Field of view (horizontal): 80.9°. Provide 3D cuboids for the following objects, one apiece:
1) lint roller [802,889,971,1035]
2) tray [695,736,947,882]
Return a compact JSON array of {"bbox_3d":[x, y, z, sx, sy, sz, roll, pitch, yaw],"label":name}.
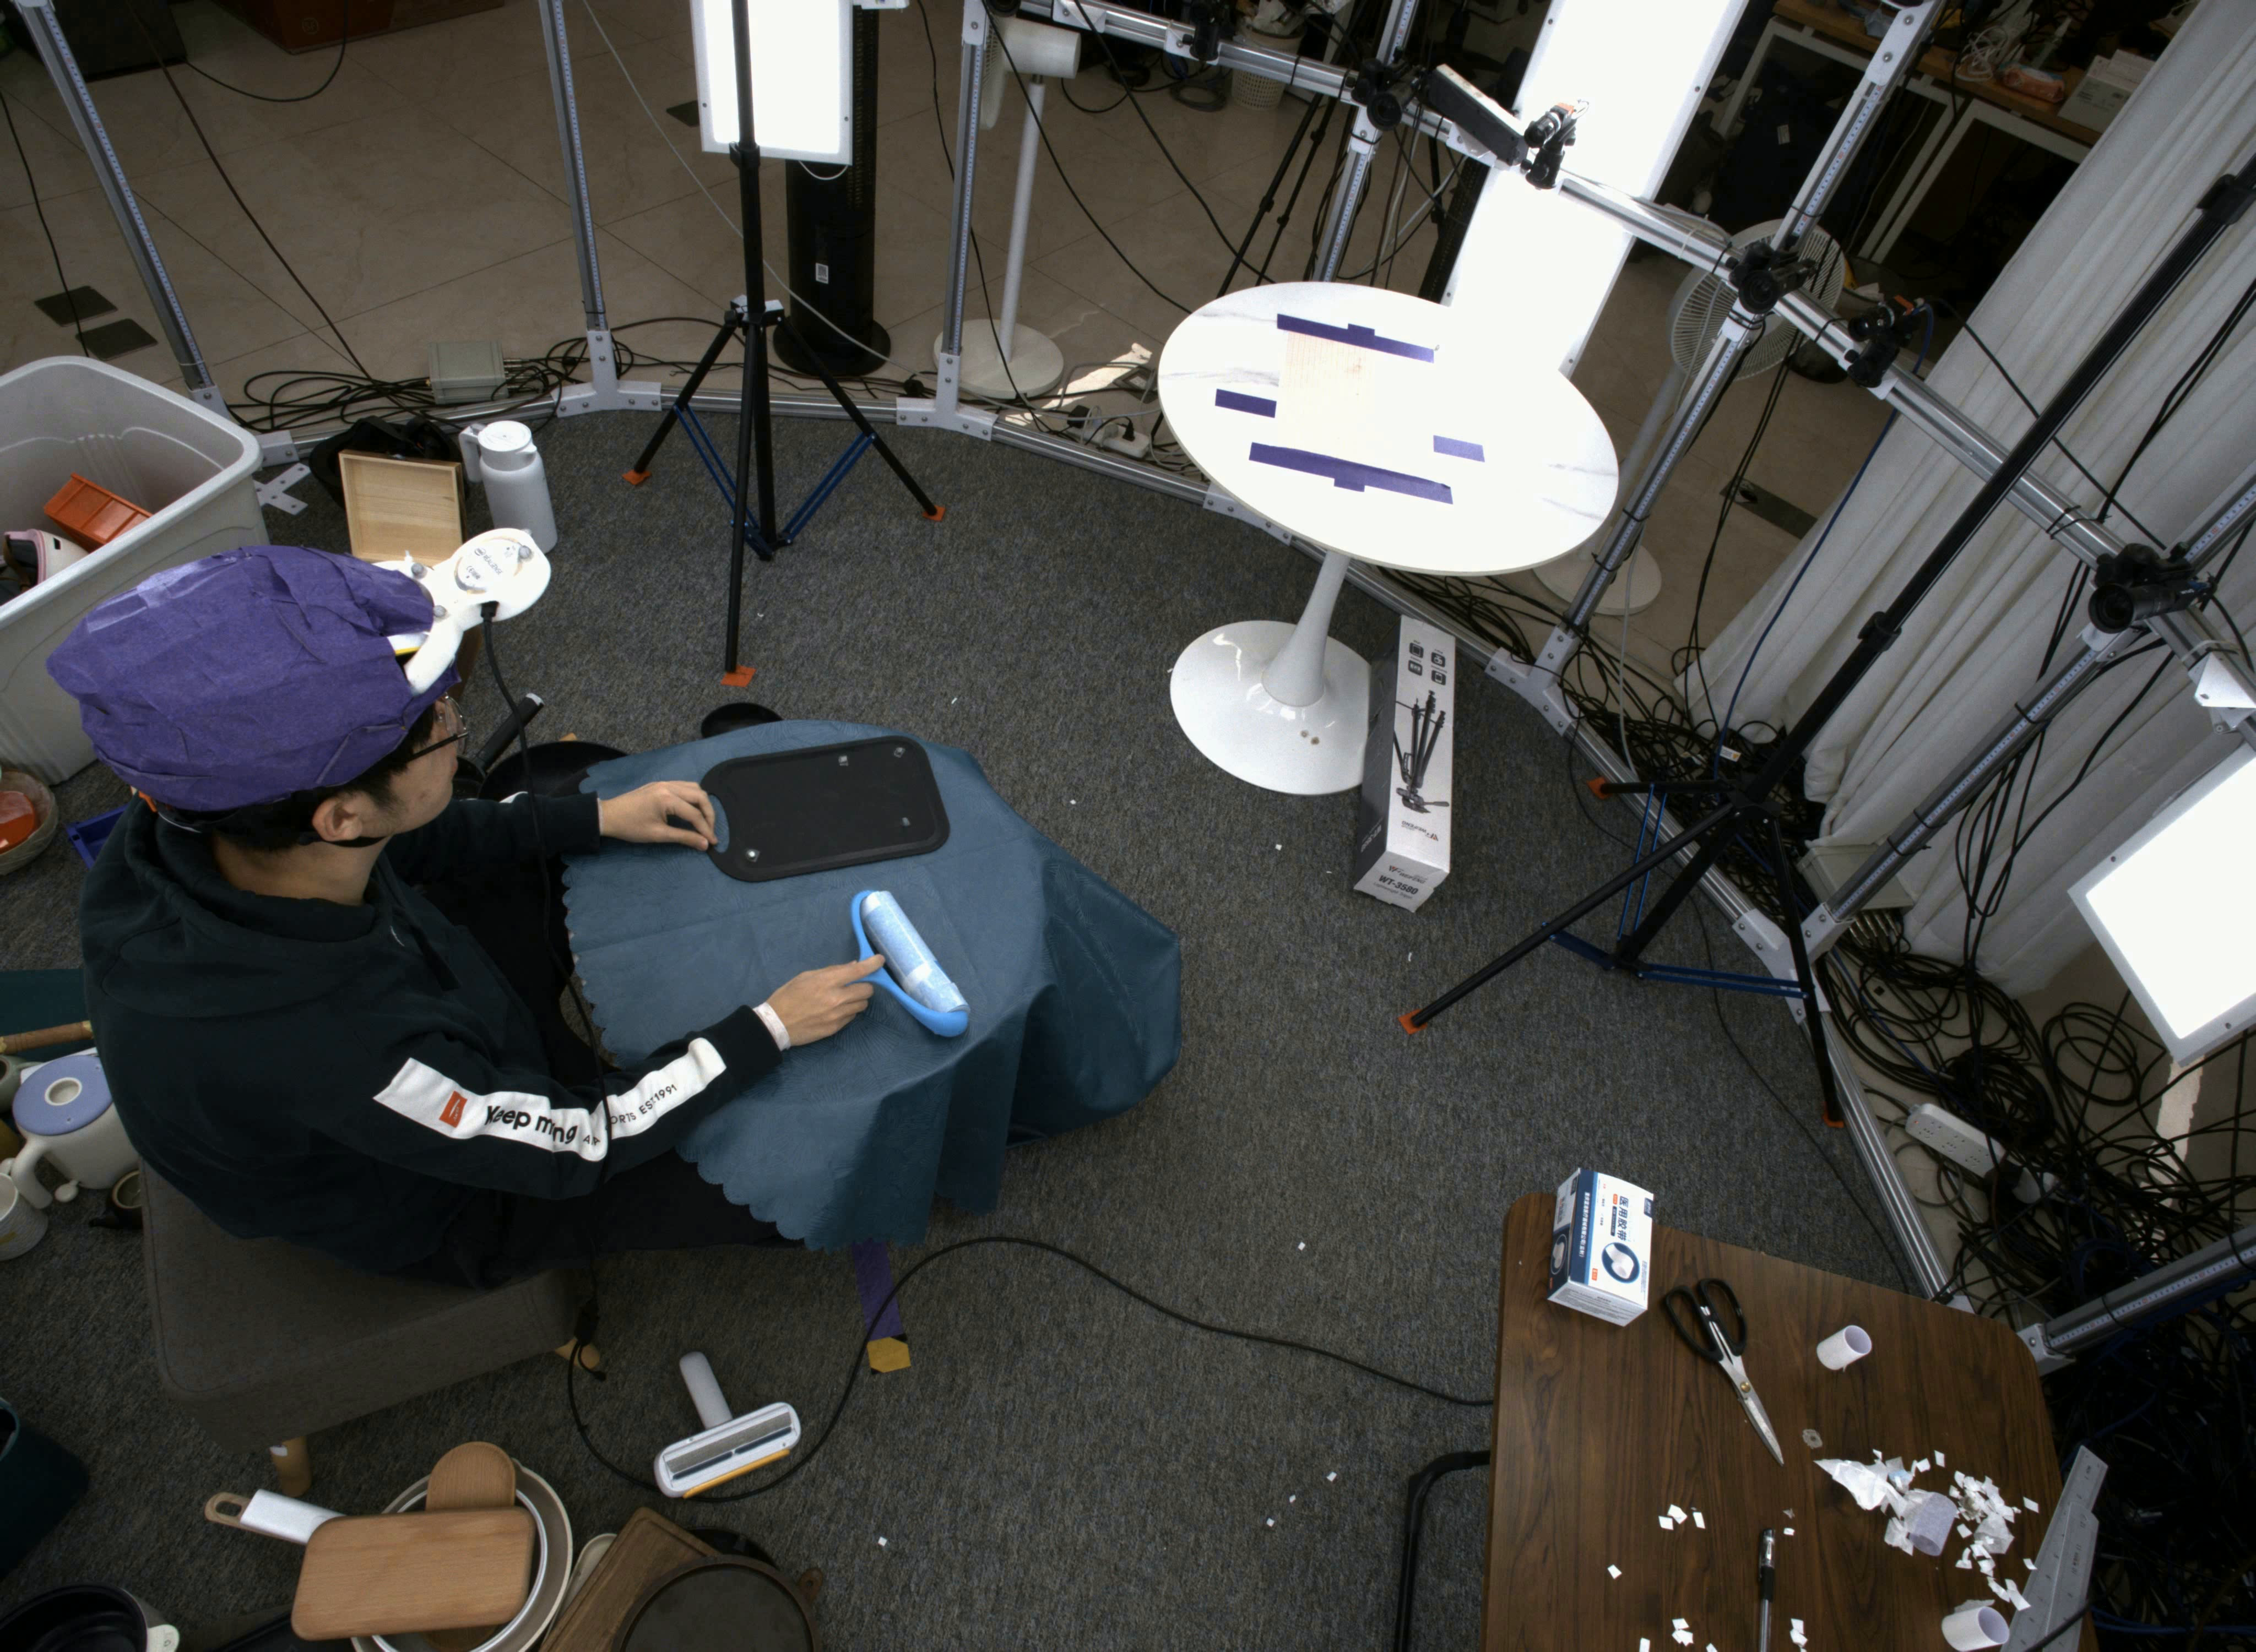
[{"bbox_3d":[-0.314,0.187,1.584,0.181,0.069,0.224,-28,67,-31],"label":"lint roller"},{"bbox_3d":[-0.416,-0.028,1.748,0.327,0.010,0.206,-10,57,-21],"label":"tray"}]
